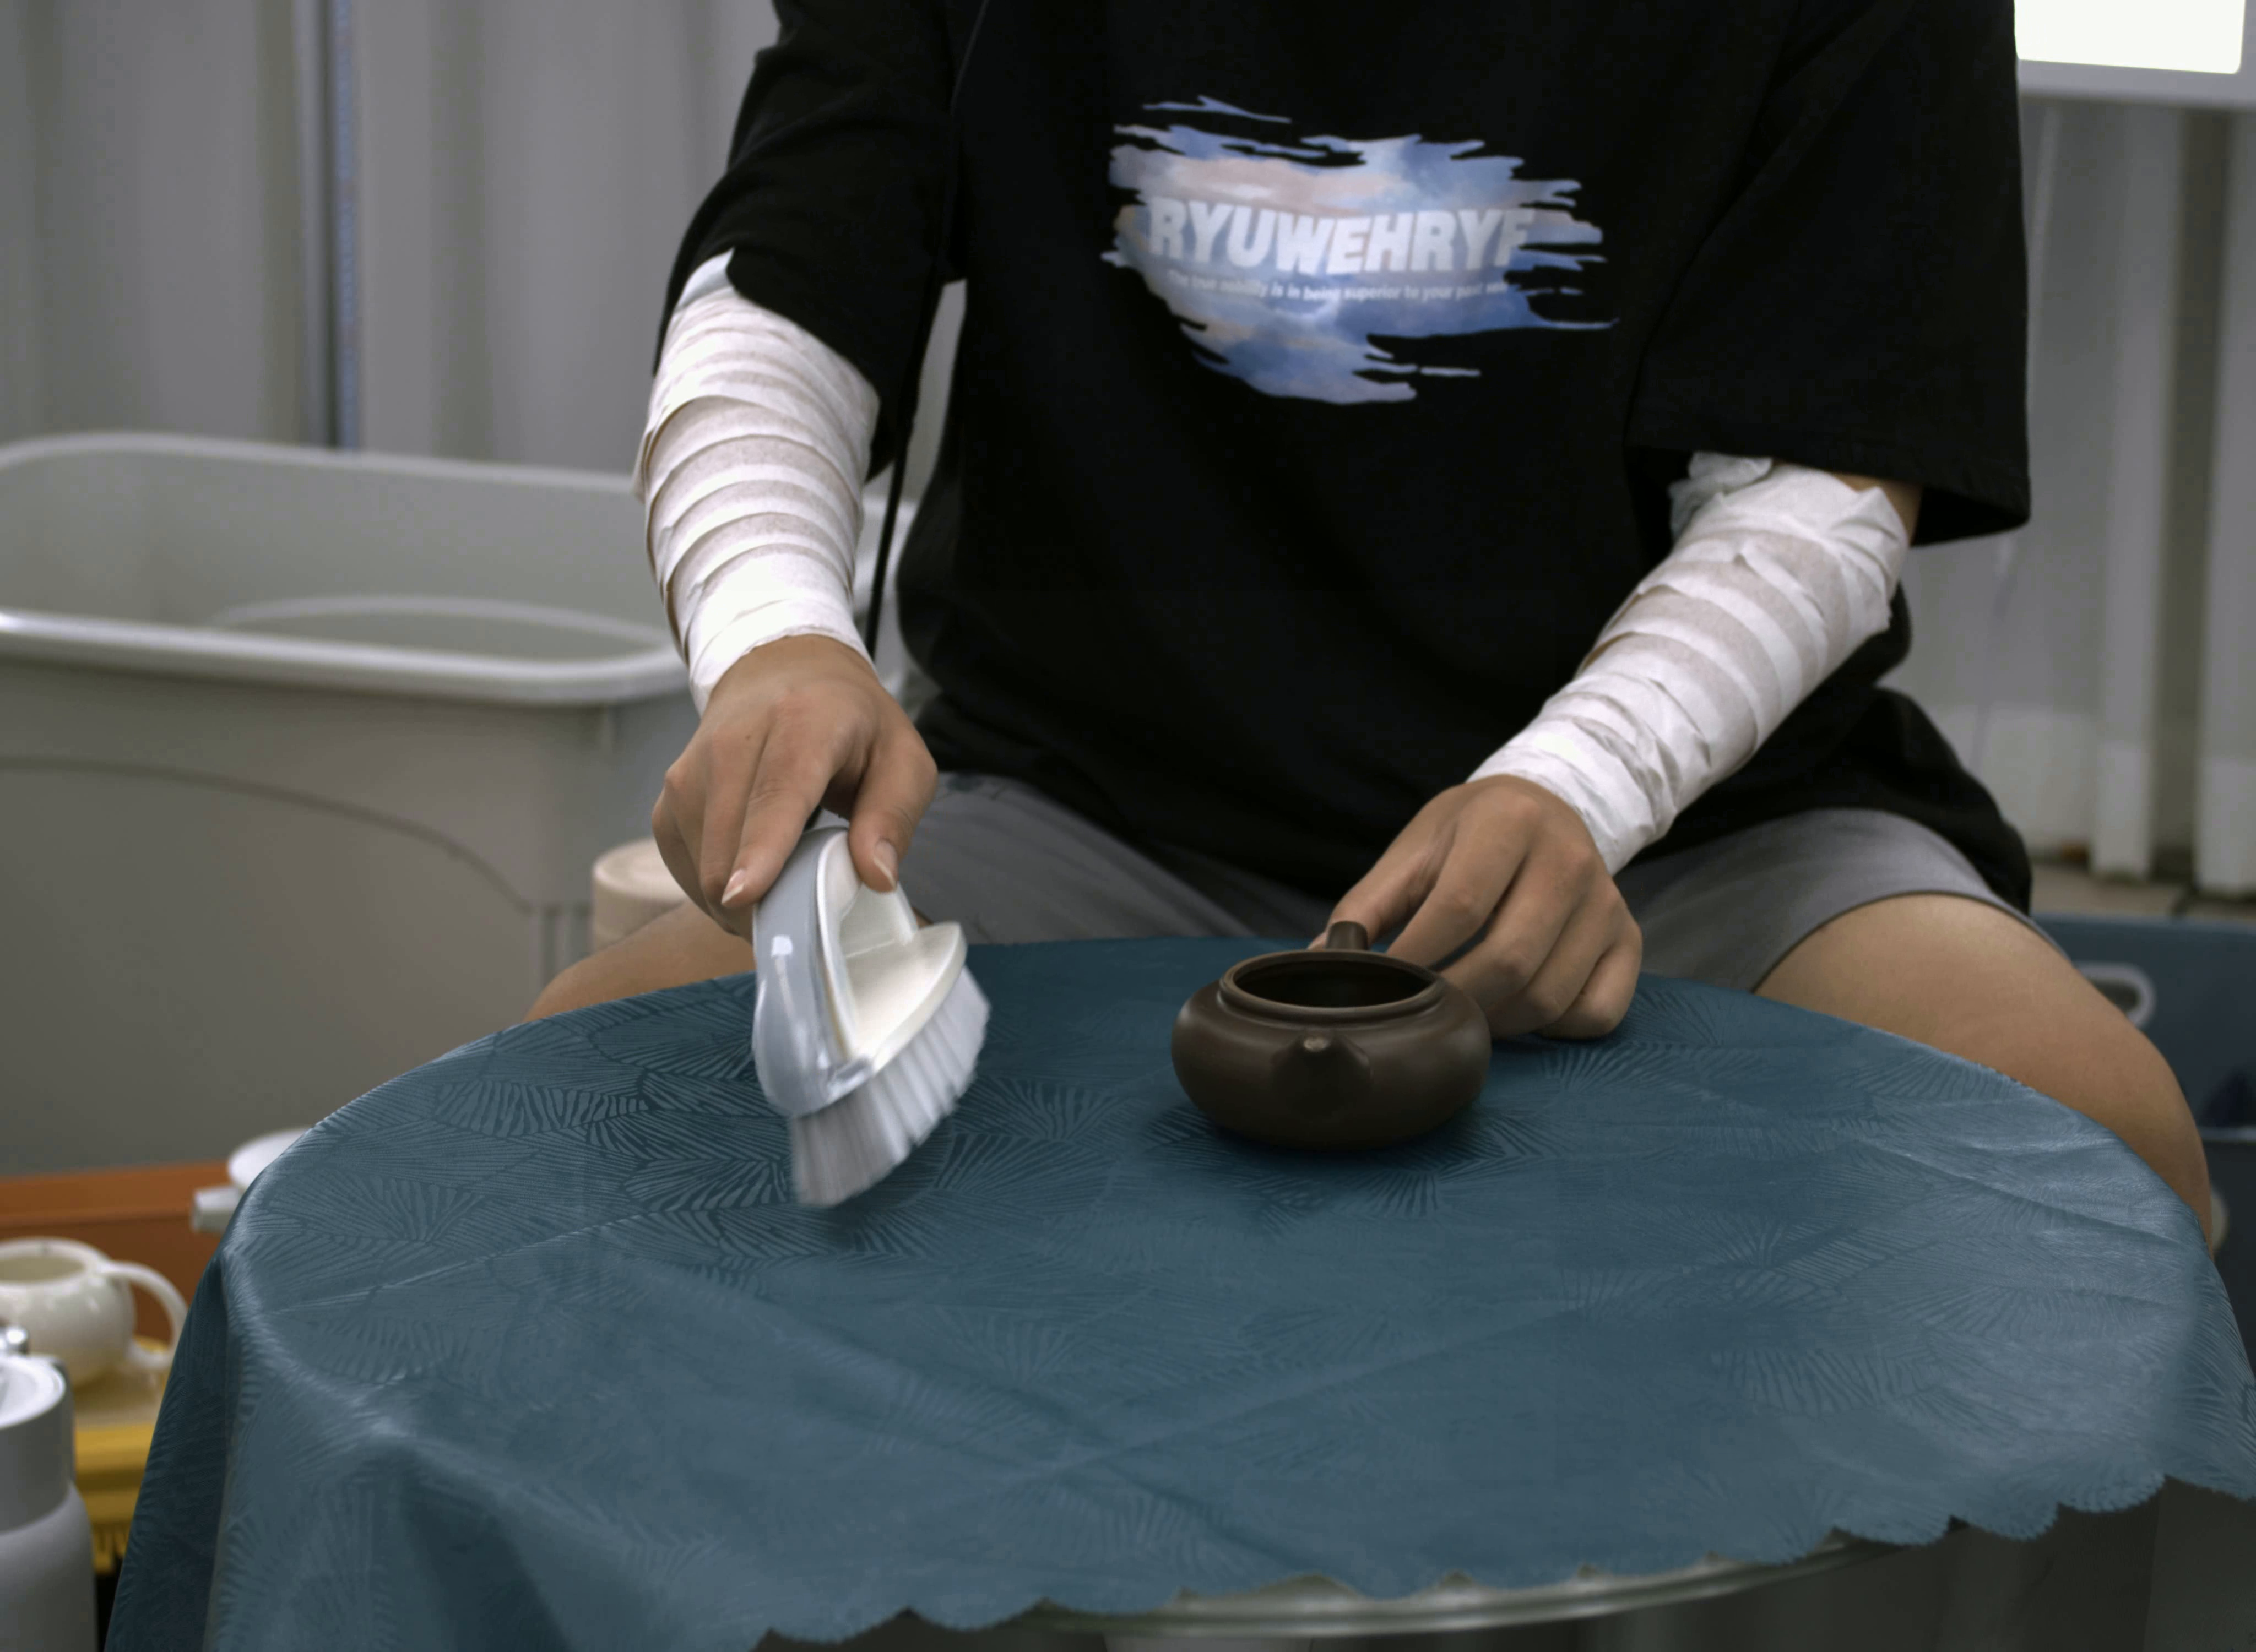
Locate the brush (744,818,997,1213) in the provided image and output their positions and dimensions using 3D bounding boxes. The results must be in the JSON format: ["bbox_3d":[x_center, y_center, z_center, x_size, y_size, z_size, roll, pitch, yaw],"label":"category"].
[{"bbox_3d":[-0.090,0.053,1.638,0.061,0.095,0.175,-18,15,14],"label":"brush"}]

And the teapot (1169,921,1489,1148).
[{"bbox_3d":[0.064,0.068,1.687,0.102,0.054,0.152,2,15,-1],"label":"teapot"}]
